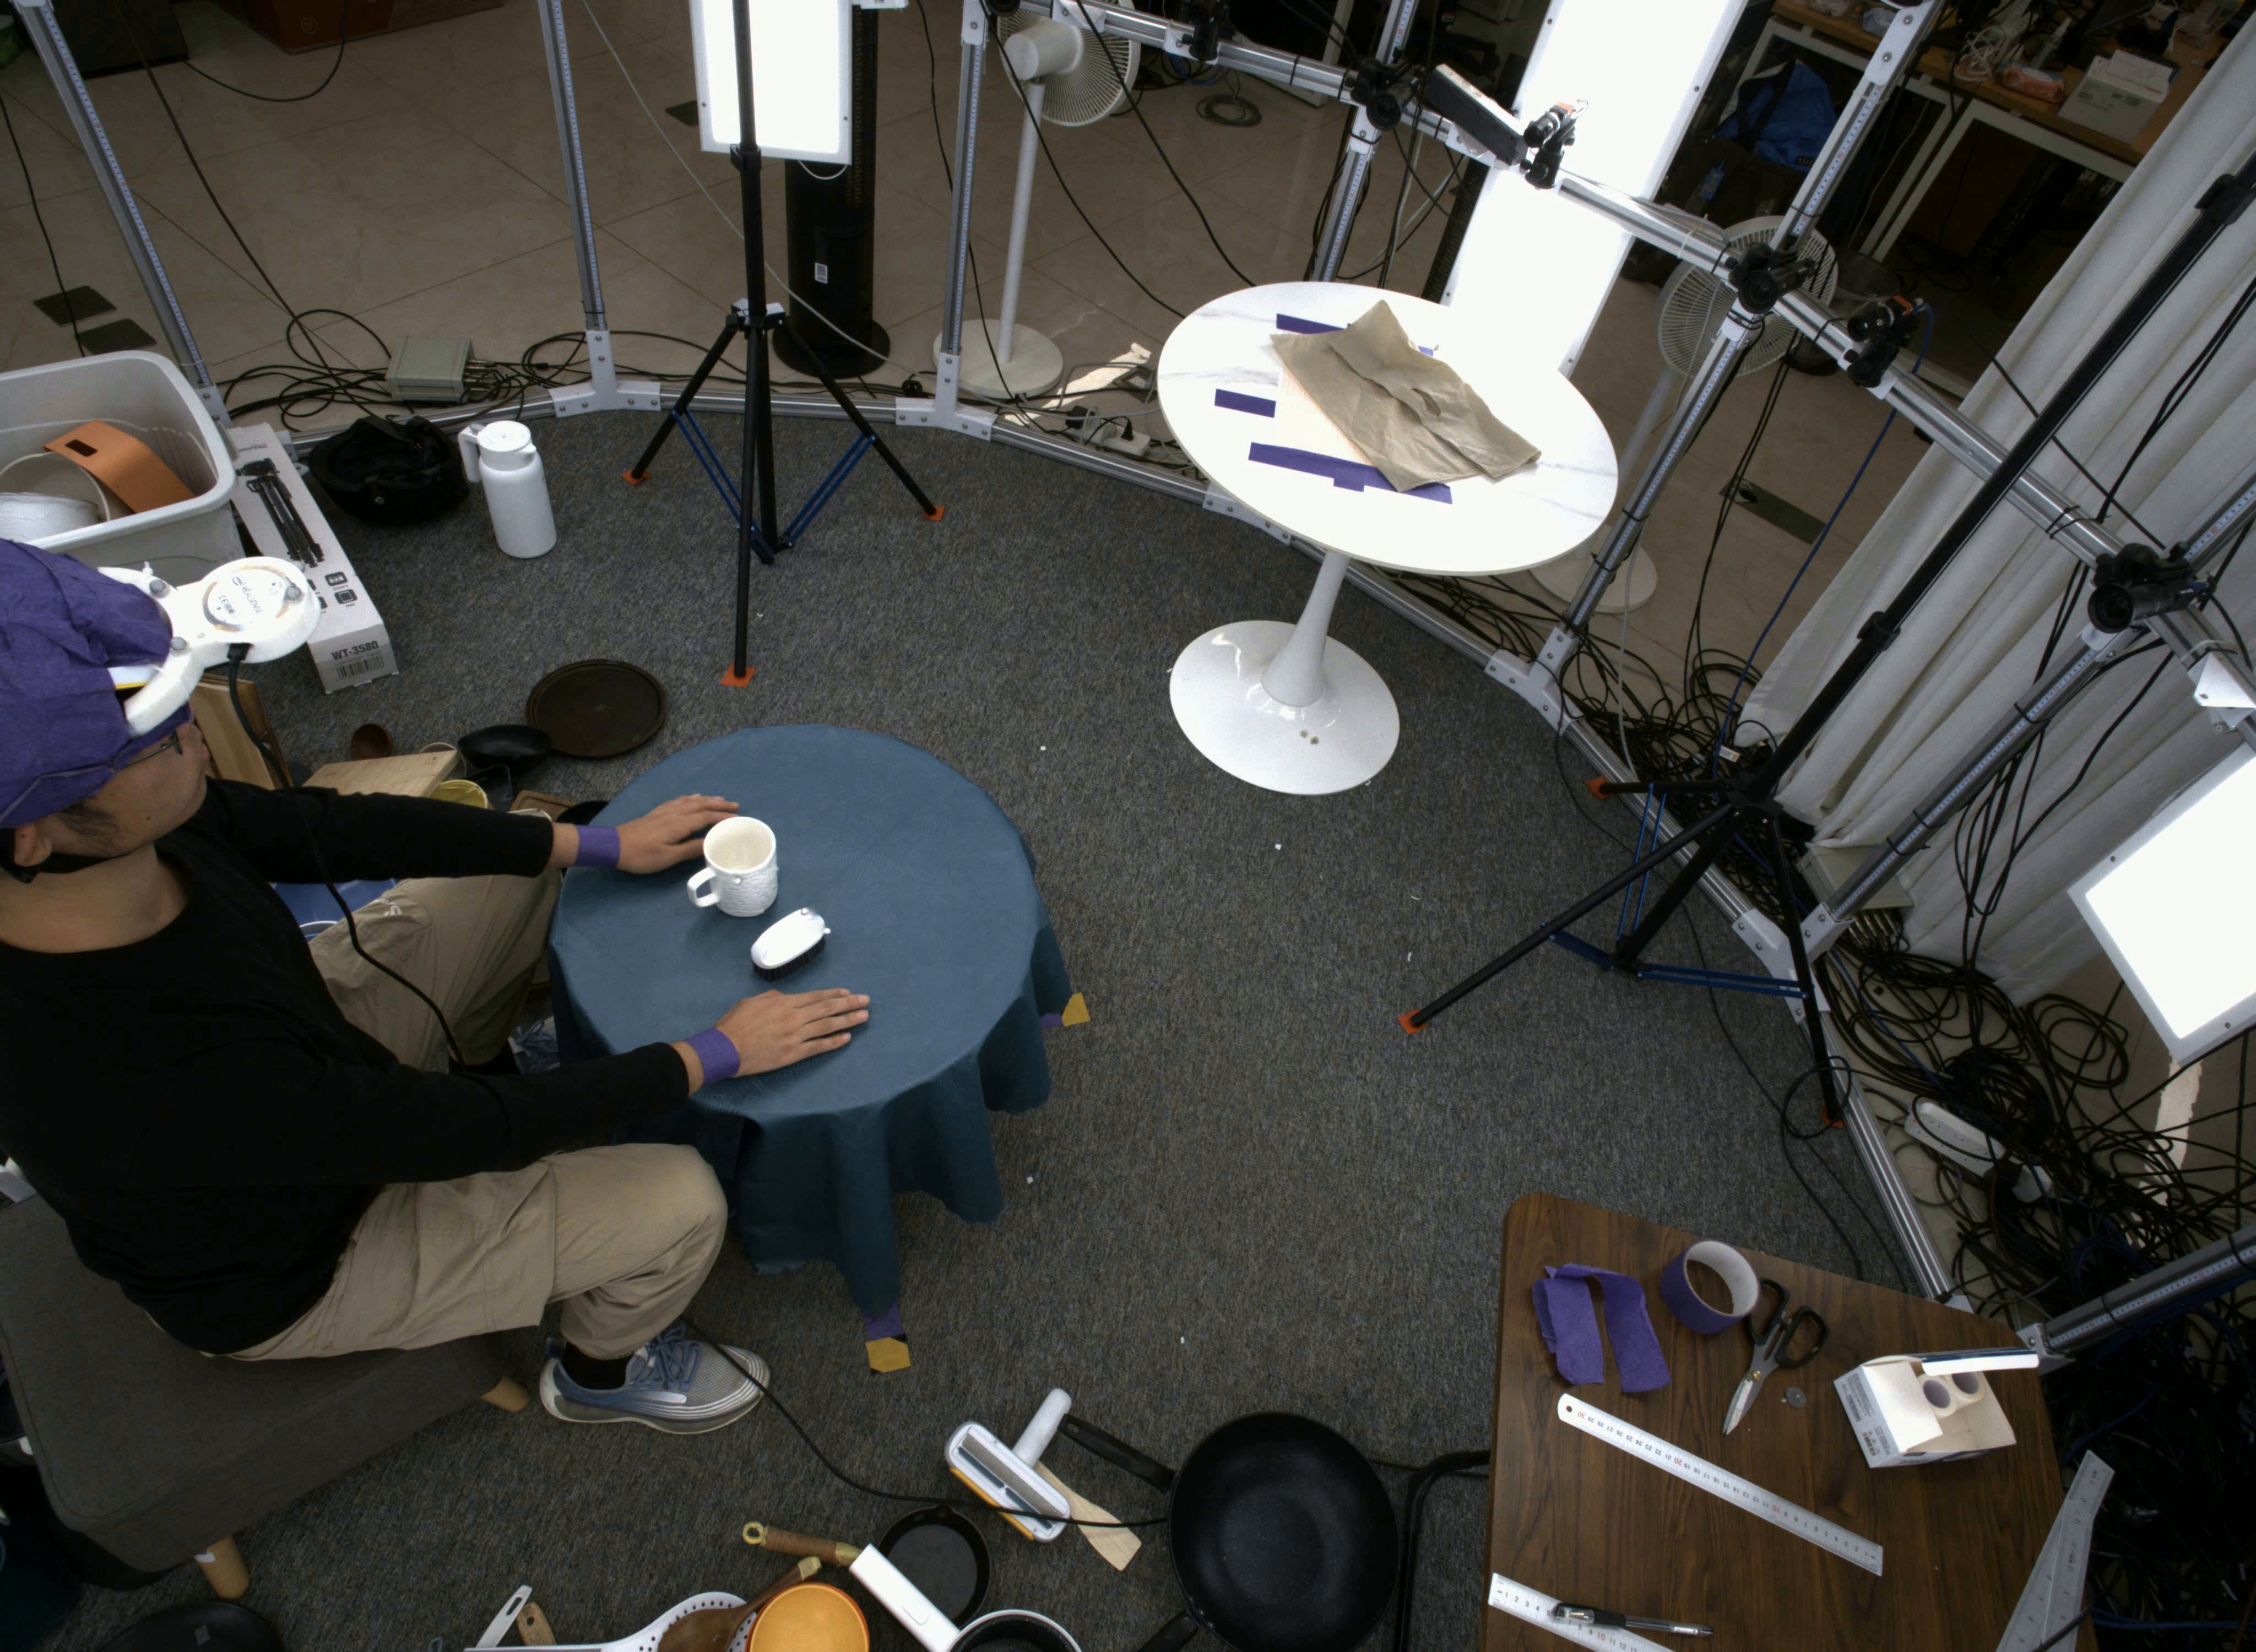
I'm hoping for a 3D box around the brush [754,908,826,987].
[{"bbox_3d":[-0.413,0.138,1.579,0.049,0.074,0.099,31,47,19],"label":"brush"}]

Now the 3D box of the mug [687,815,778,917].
[{"bbox_3d":[-0.491,0.058,1.600,0.083,0.104,0.118,40,55,18],"label":"mug"}]
